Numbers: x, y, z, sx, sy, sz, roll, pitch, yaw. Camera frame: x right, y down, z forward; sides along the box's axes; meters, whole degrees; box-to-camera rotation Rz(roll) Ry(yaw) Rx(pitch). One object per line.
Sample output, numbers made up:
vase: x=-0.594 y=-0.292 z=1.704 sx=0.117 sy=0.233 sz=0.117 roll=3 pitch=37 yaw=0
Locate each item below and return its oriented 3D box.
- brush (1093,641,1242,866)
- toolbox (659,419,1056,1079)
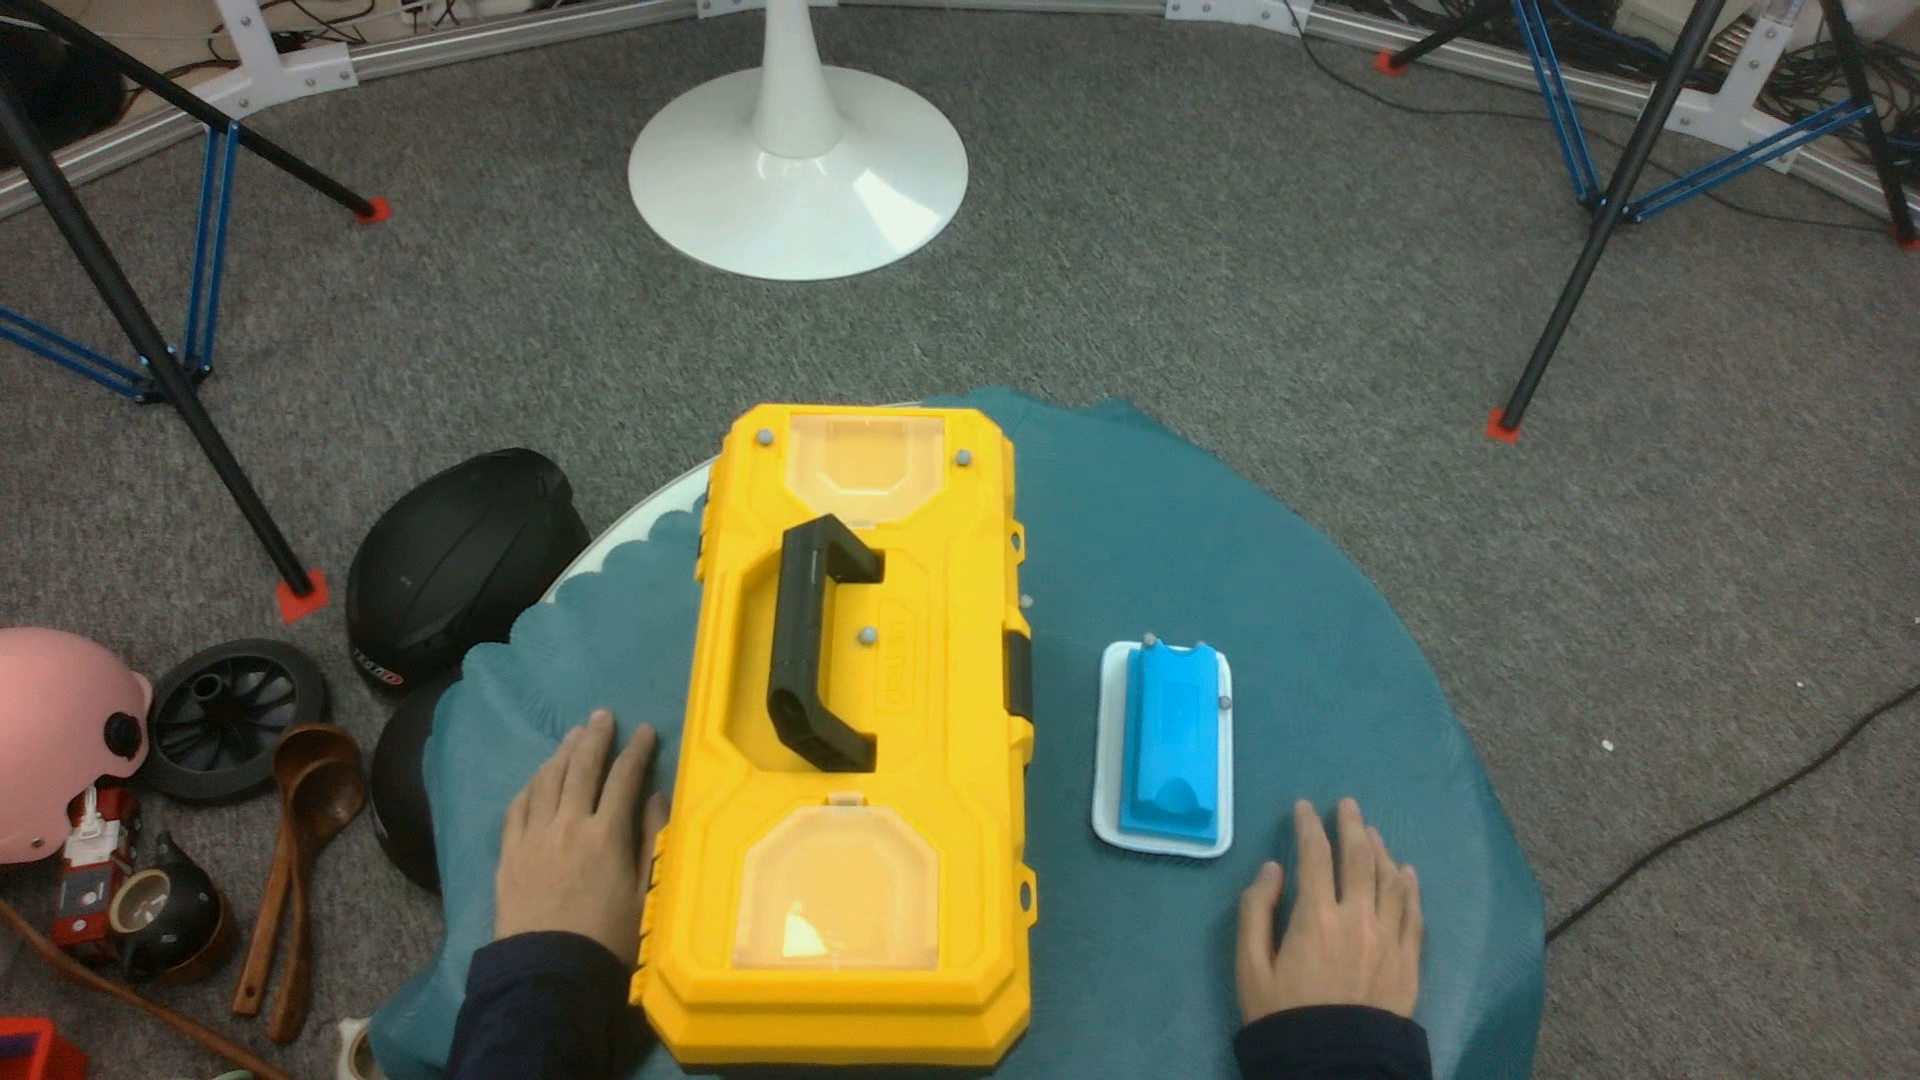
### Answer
brush: x=0.124 y=0.117 z=0.806 sx=0.084 sy=0.055 sz=0.144 roll=6 pitch=50 yaw=7
toolbox: x=-0.050 y=0.110 z=0.734 sx=0.181 sy=0.172 sz=0.353 roll=0 pitch=52 yaw=-1
